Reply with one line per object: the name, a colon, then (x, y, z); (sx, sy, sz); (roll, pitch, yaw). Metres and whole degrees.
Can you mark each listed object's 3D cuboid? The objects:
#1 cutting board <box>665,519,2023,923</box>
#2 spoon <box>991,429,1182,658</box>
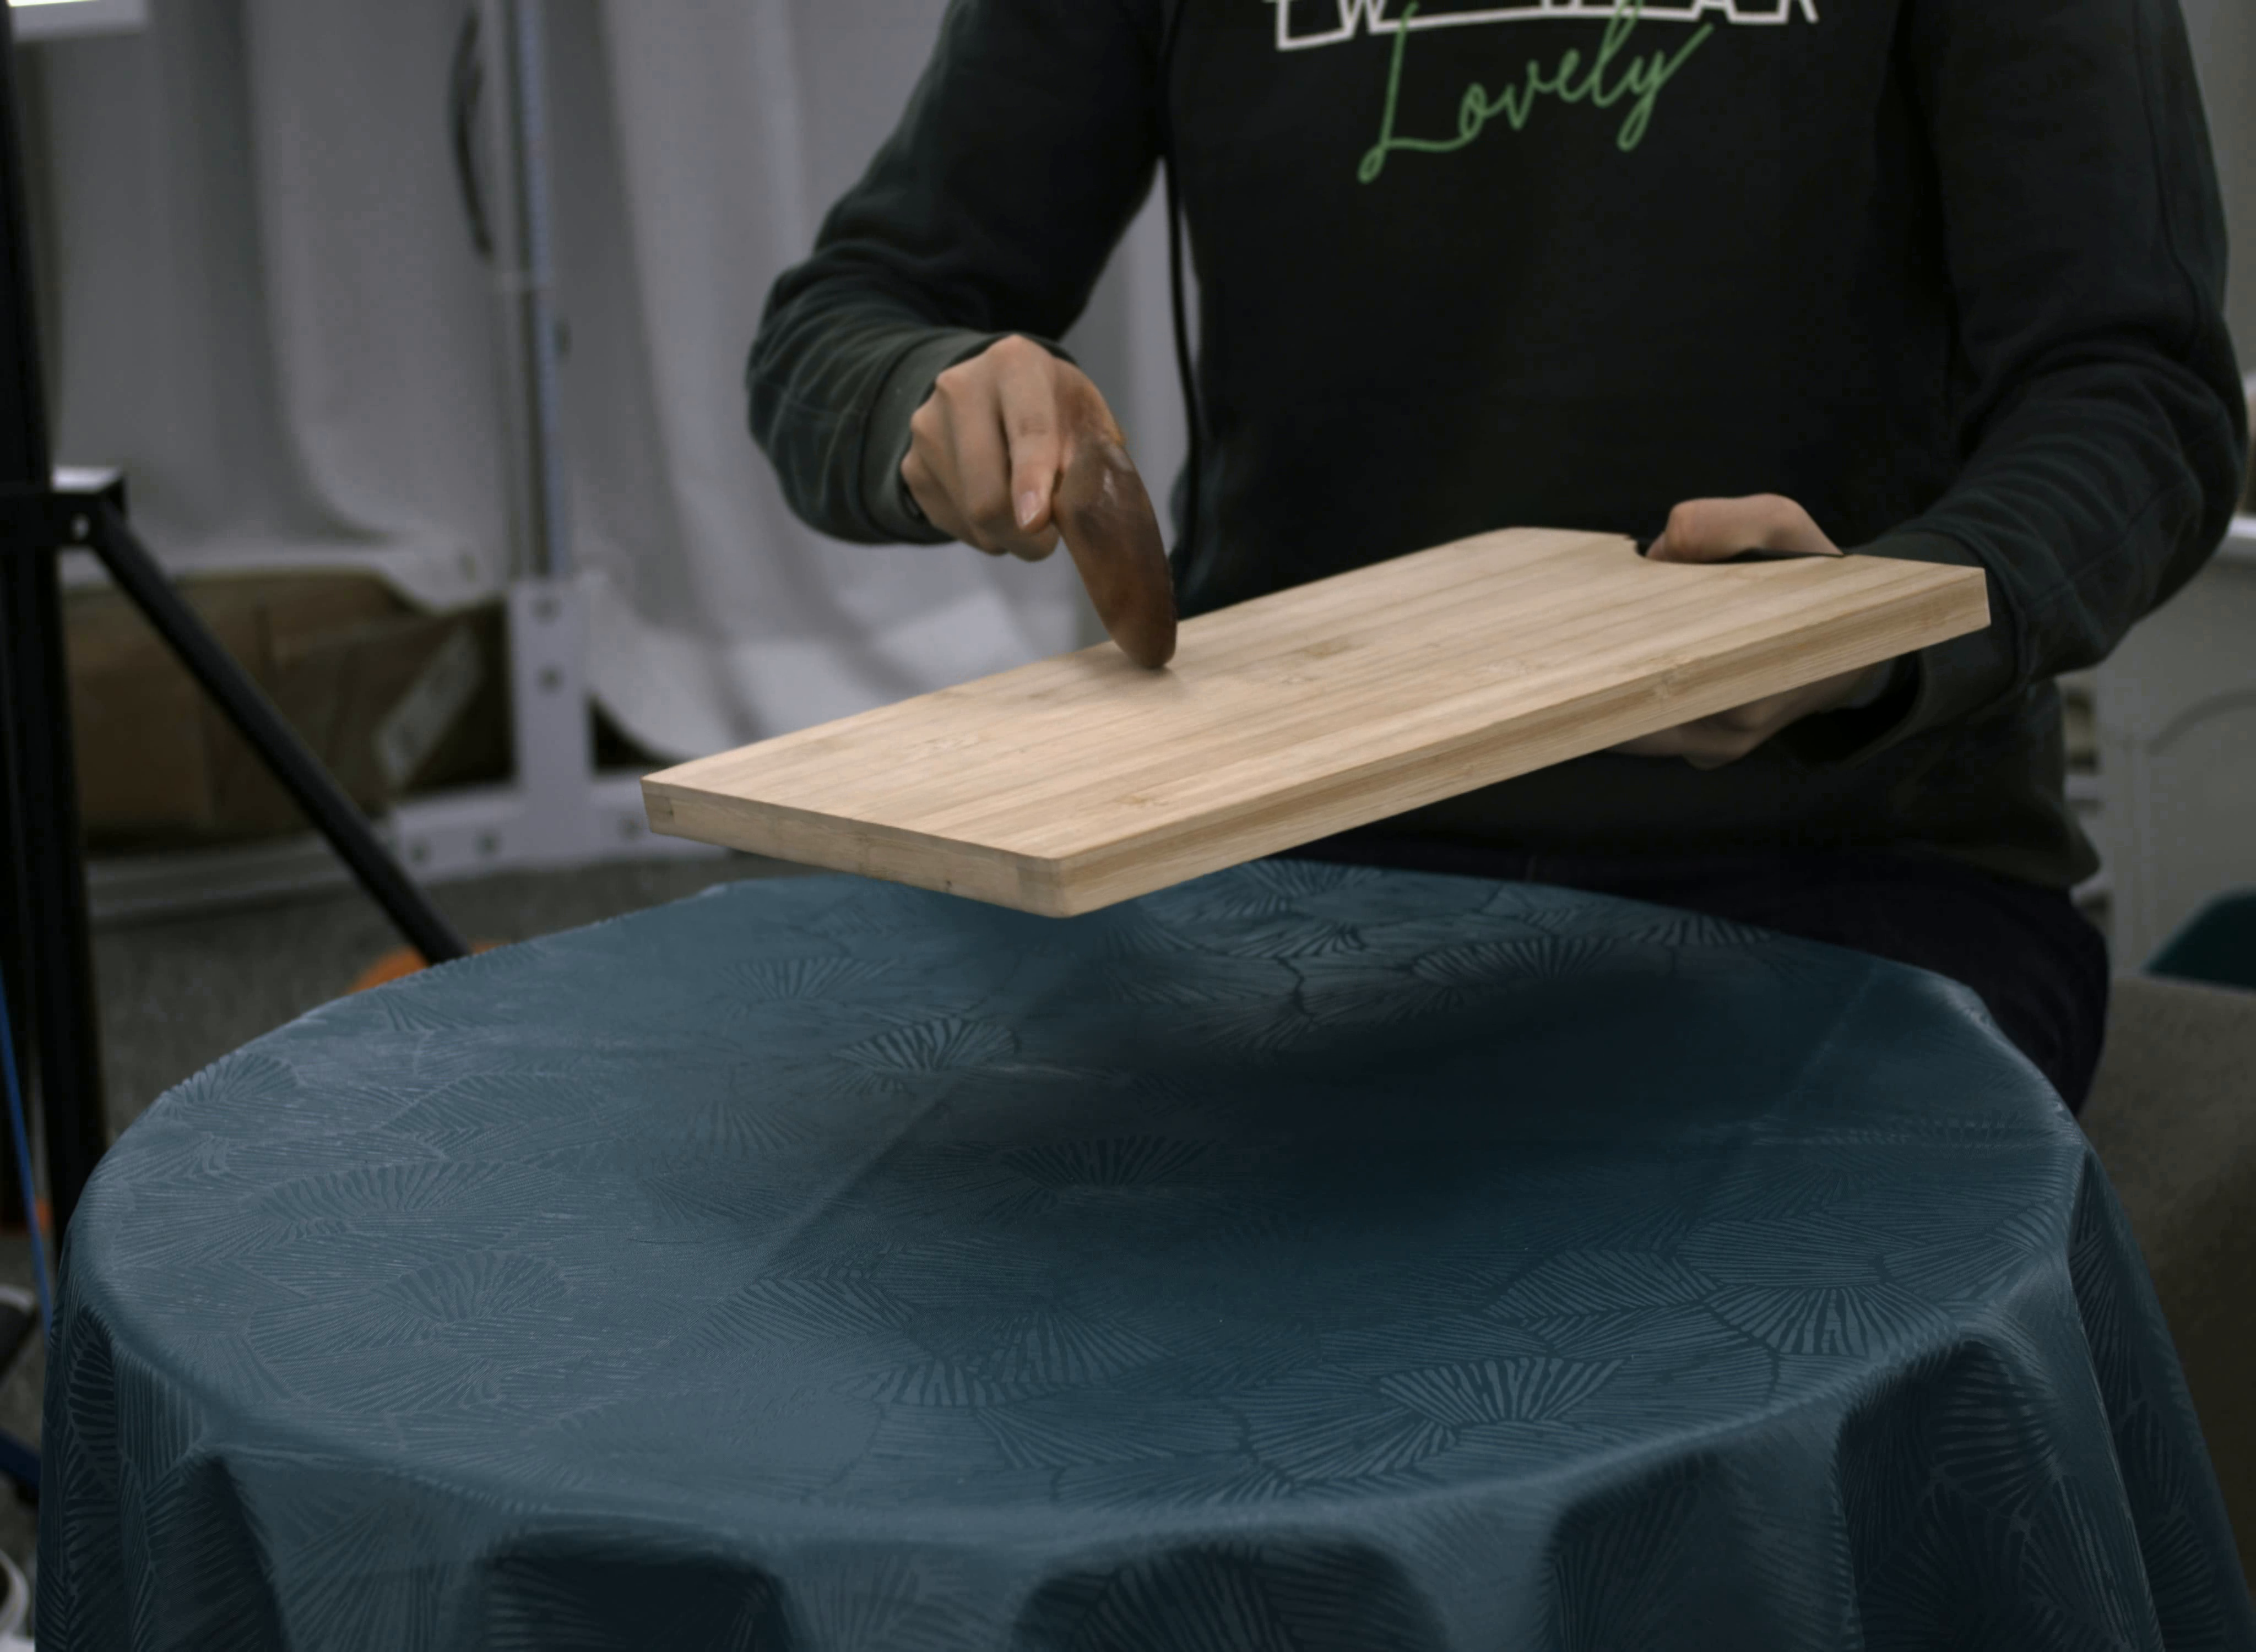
cutting board: (0.061, -0.039, 1.612); (0.341, 0.023, 0.256); (-17, 15, -30)
spoon: (-0.017, -0.098, 1.715); (0.017, 0.075, 0.218); (-17, 16, -8)
